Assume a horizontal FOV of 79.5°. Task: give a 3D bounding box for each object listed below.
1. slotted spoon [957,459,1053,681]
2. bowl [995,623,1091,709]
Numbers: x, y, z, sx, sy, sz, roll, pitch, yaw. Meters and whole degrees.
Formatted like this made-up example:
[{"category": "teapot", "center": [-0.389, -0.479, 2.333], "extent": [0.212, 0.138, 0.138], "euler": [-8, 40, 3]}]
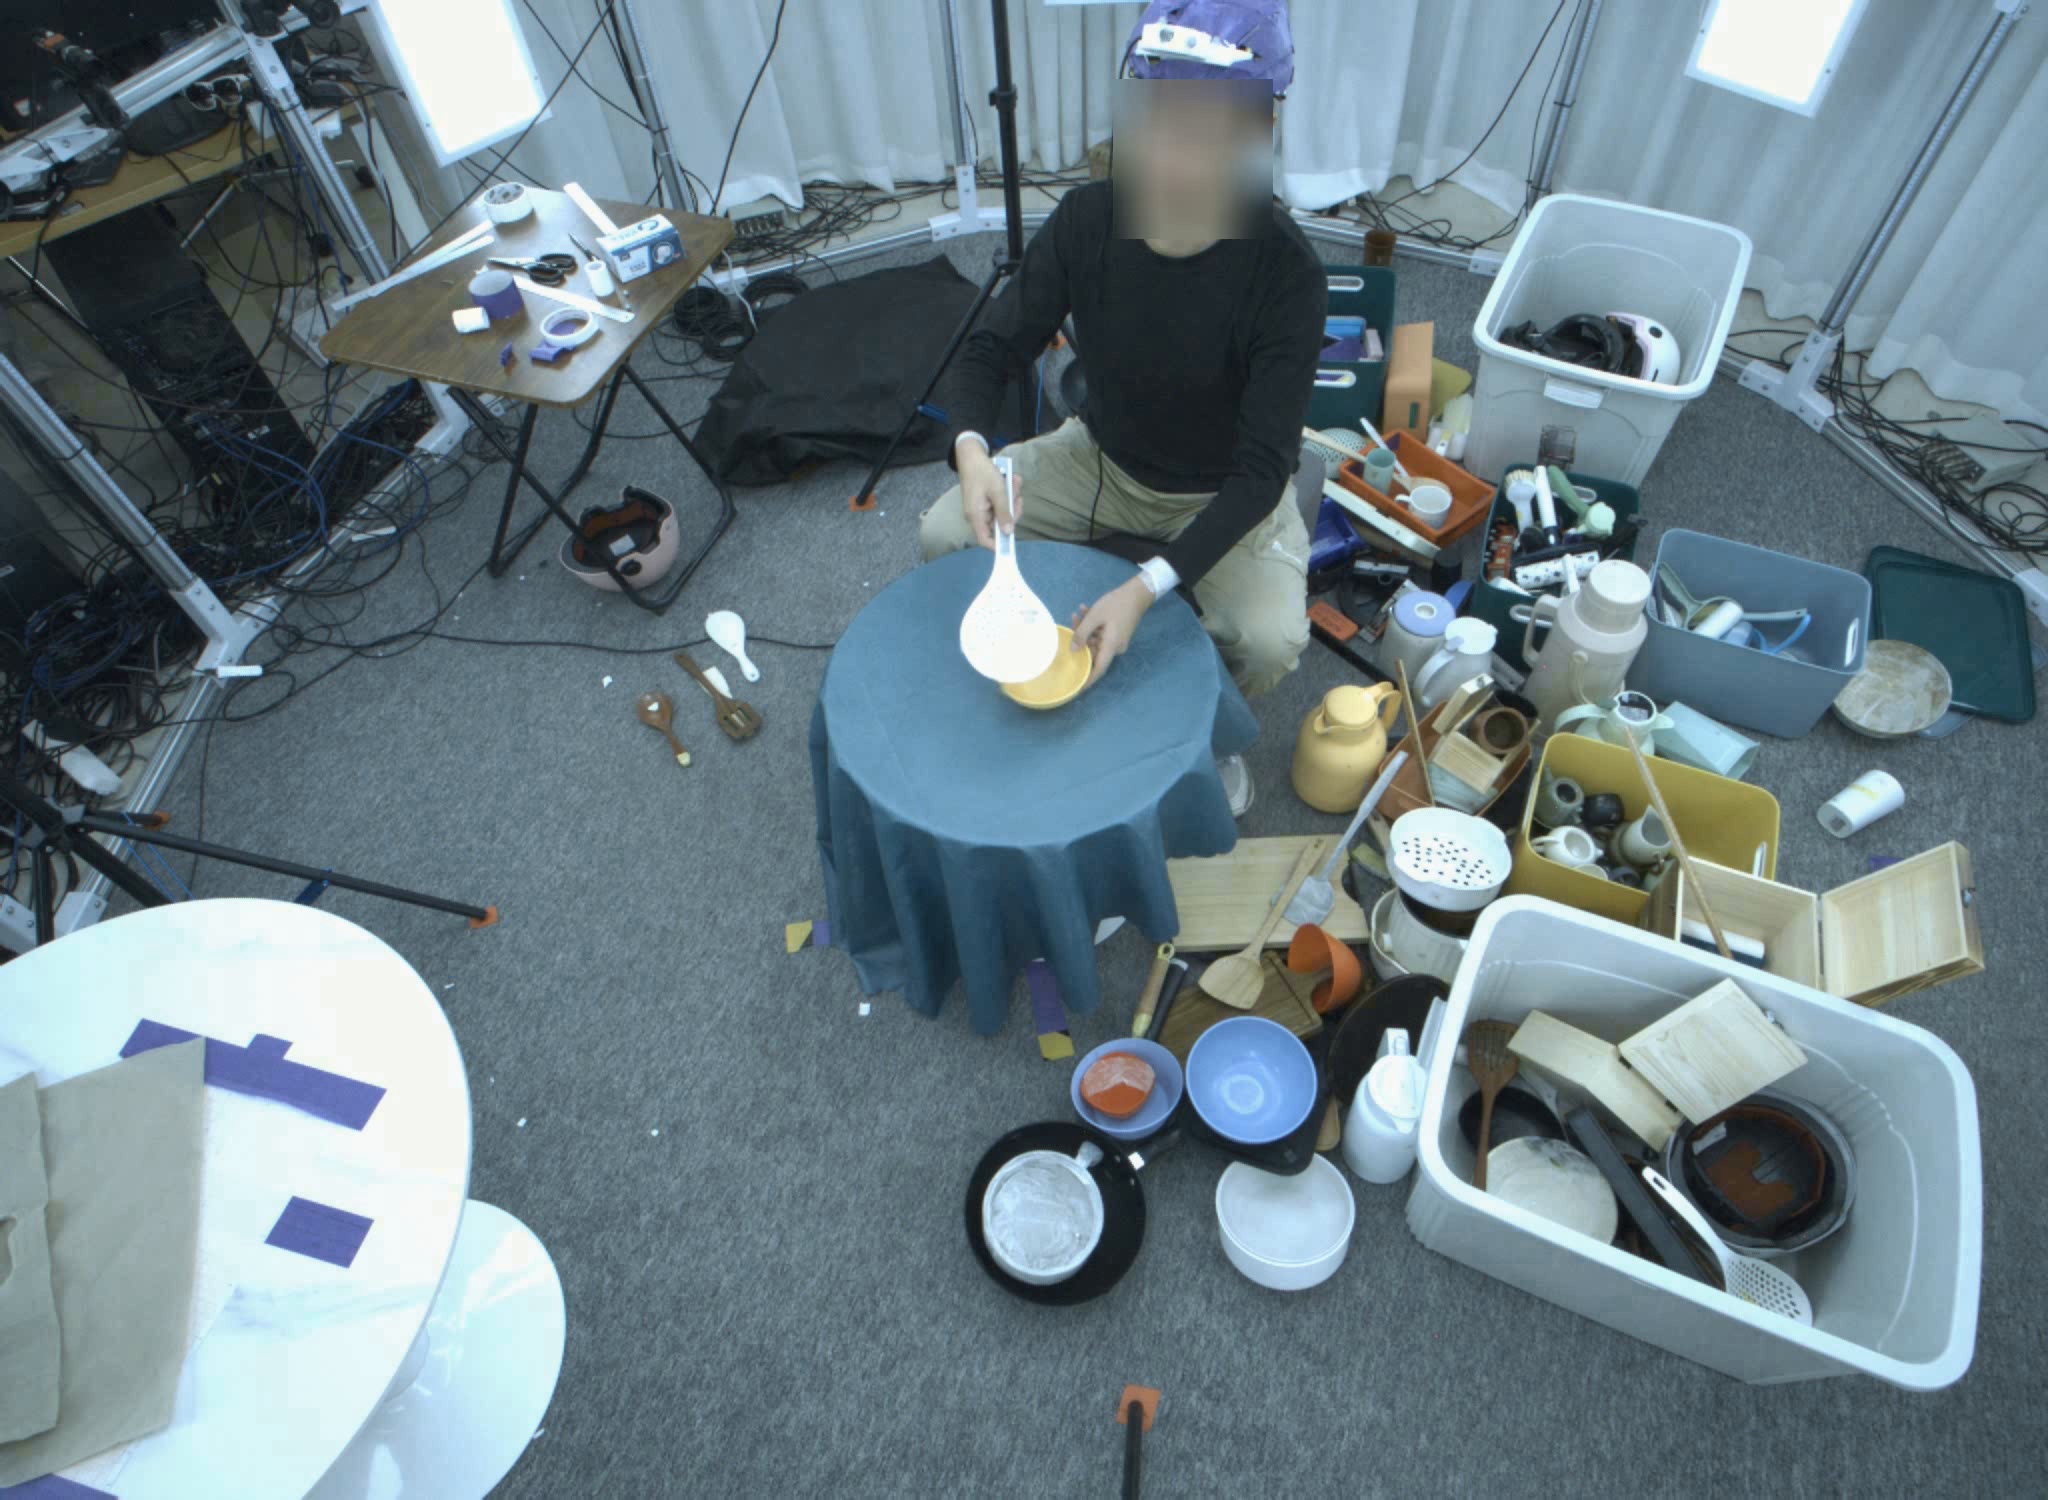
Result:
[{"category": "slotted spoon", "center": [-0.032, -0.263, 1.765], "extent": [0.137, 0.045, 0.348], "euler": [-1, 80, -8]}, {"category": "bowl", "center": [0.028, -0.114, 1.831], "extent": [0.145, 0.061, 0.144], "euler": [-1, 60, 2]}]
